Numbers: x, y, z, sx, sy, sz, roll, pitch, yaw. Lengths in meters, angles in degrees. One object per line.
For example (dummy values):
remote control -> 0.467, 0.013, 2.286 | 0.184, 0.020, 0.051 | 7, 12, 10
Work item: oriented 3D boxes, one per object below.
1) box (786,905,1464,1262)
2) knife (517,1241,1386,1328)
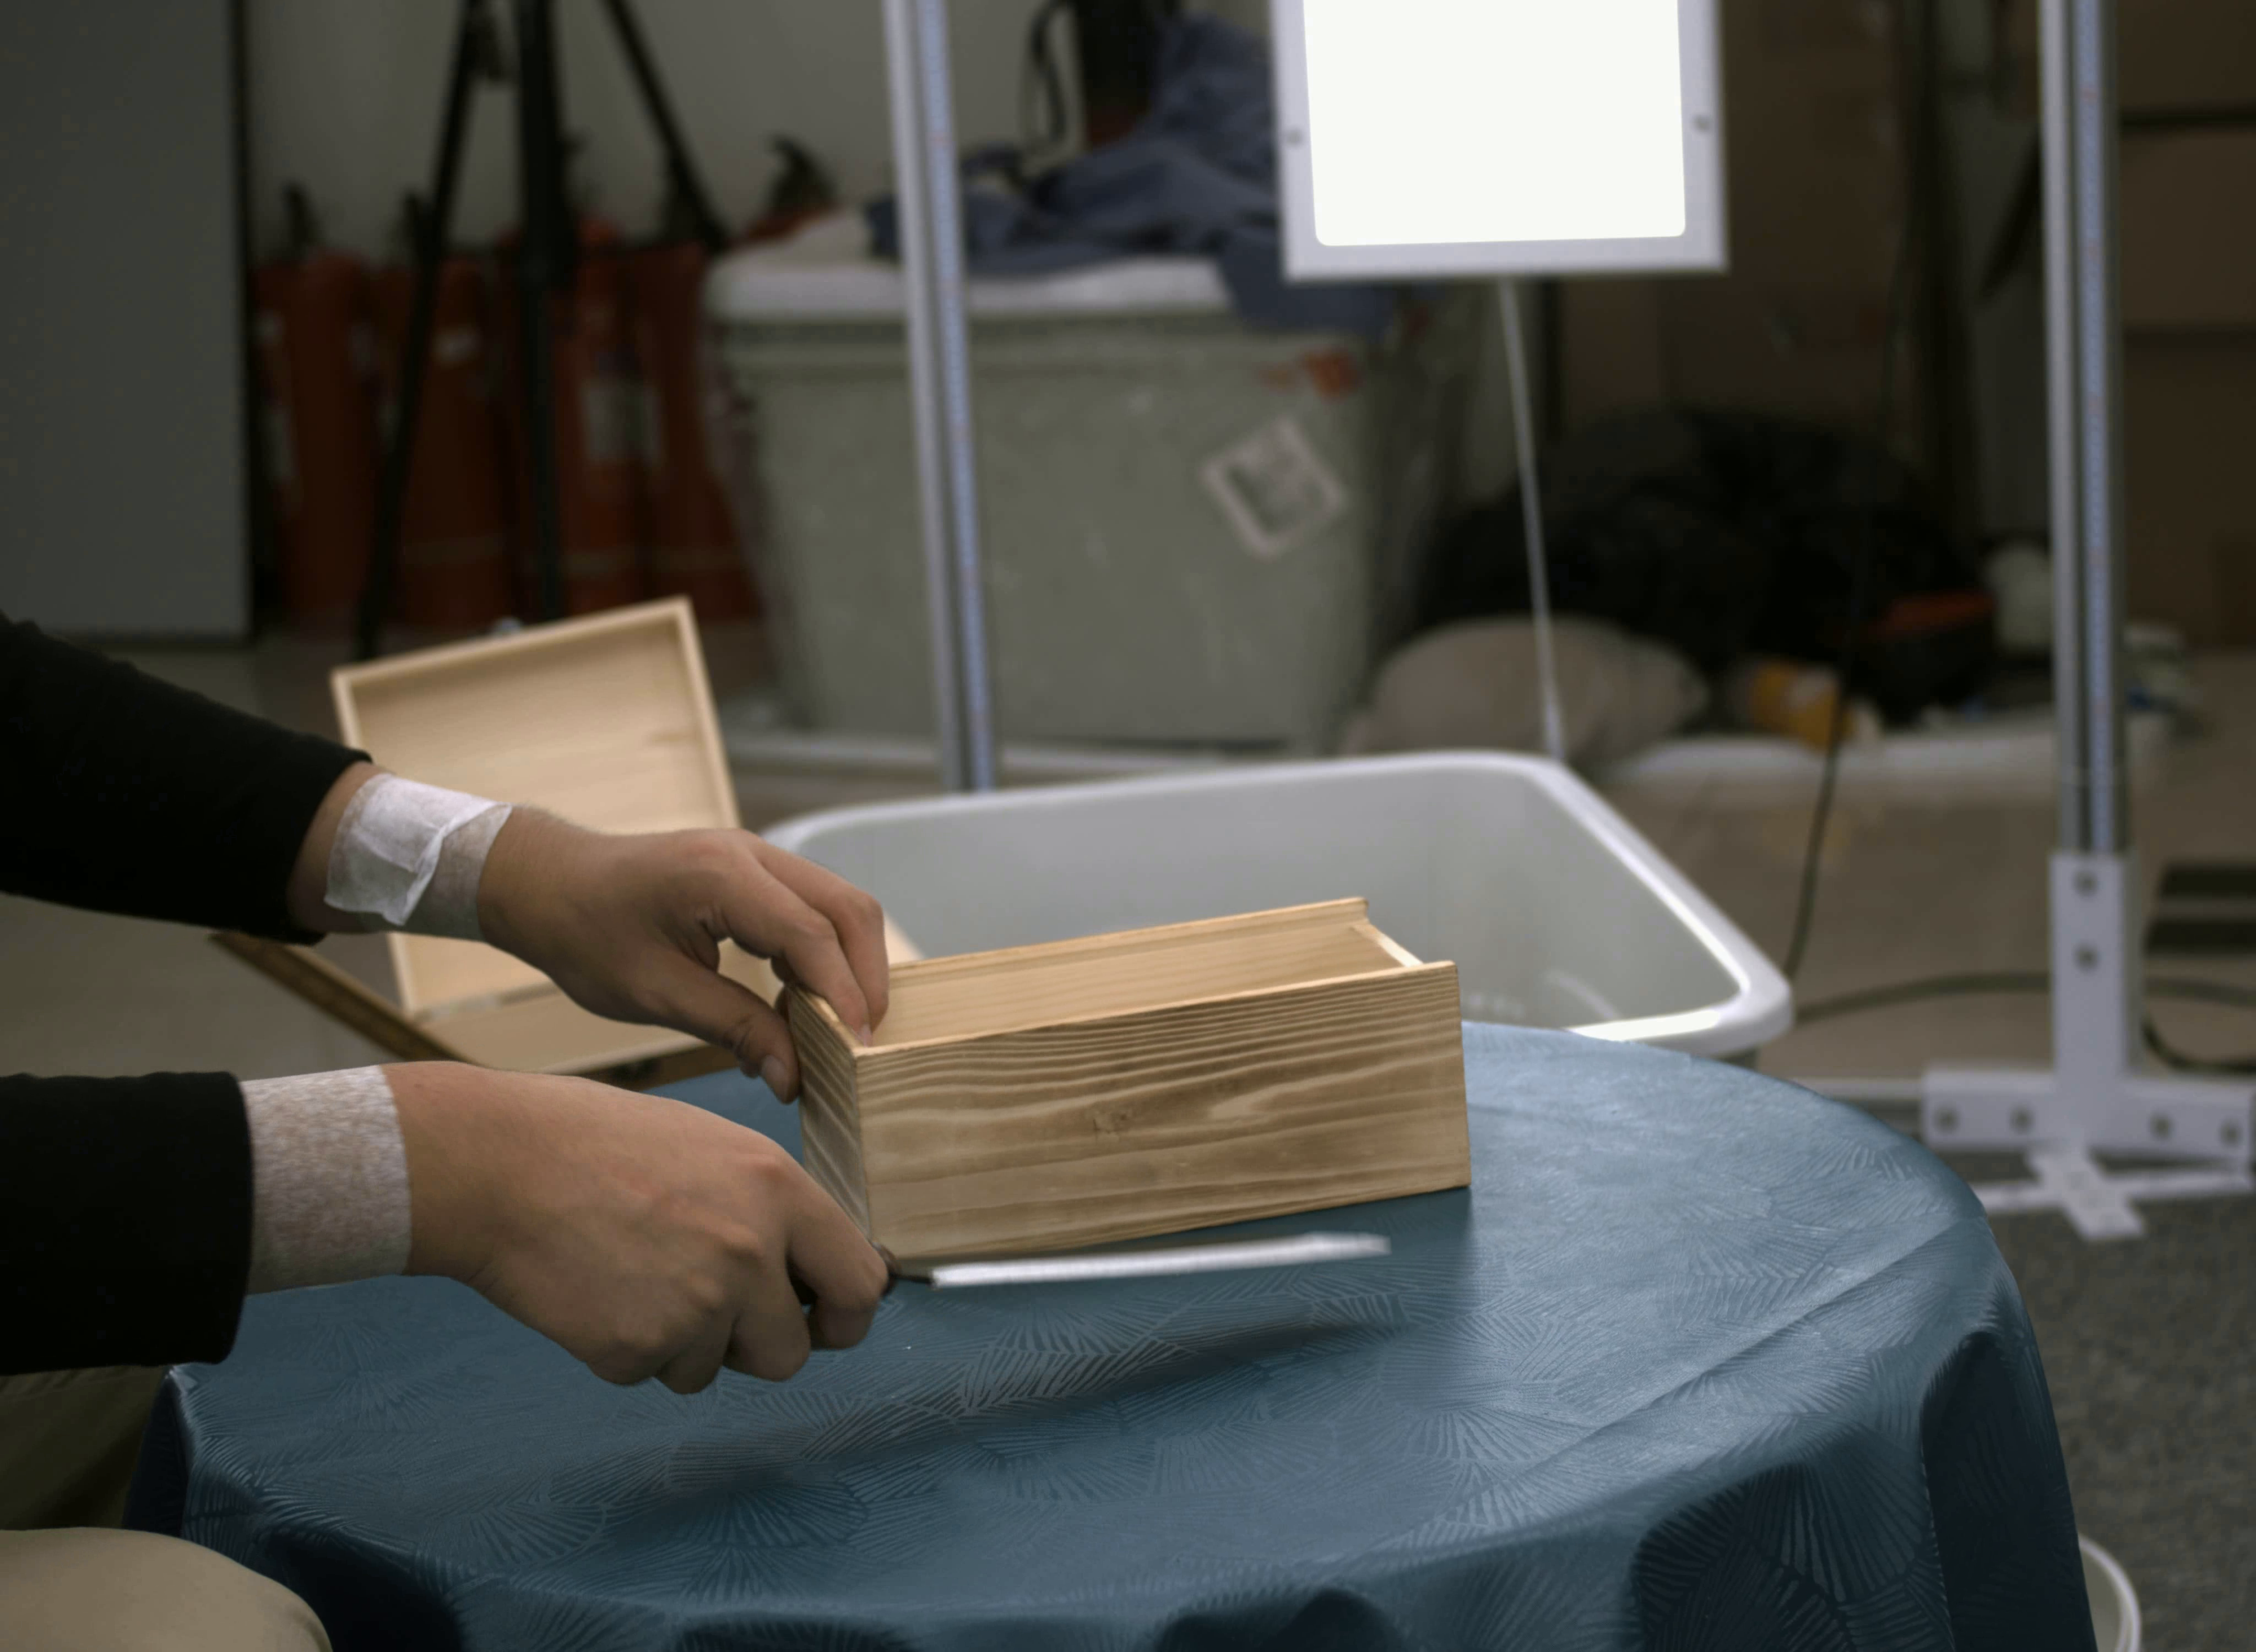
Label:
box -> -0.002, 0.088, 1.889 | 0.209, 0.080, 0.108 | -7, 13, -12
knife -> -0.049, 0.138, 1.693 | 0.283, 0.020, 0.051 | 0, 8, -23
